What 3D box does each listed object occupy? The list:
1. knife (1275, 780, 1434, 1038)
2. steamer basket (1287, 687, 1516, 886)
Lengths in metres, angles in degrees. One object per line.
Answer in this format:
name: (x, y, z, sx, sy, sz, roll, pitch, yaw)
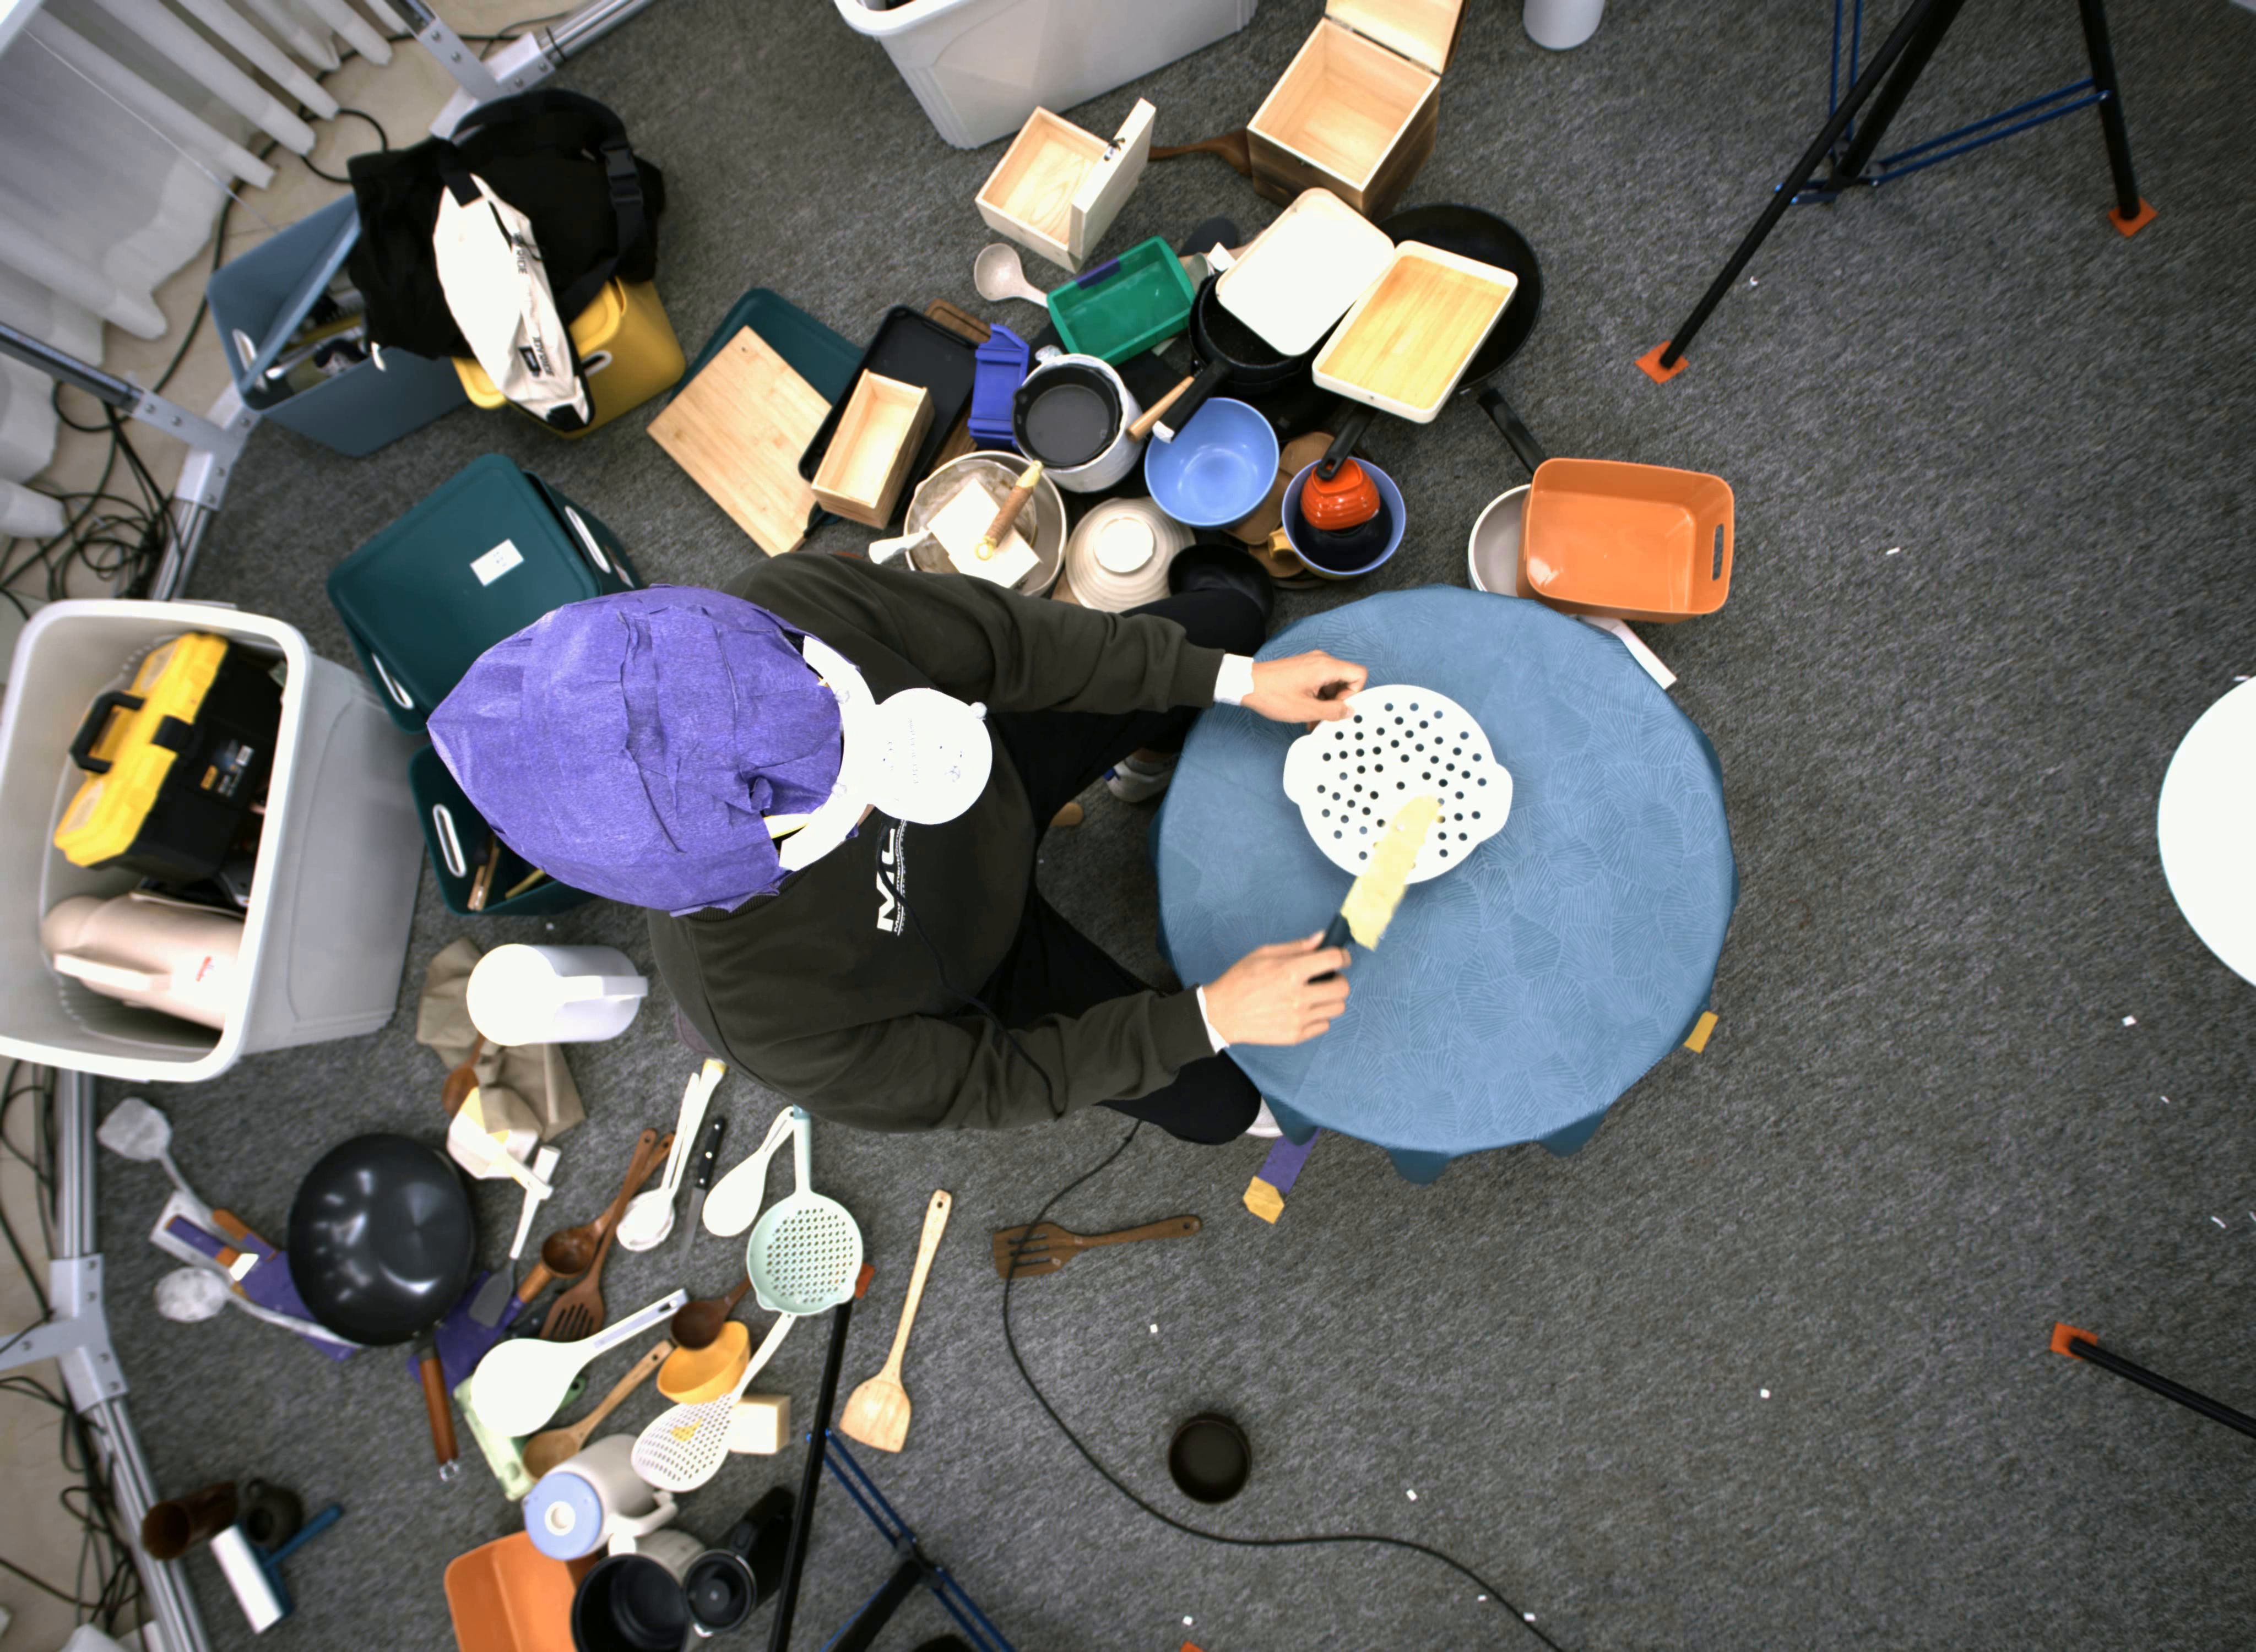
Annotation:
knife: (0.225, 0.080, 1.344, 0.027, 0.081, 0.289, 30, 90, 48)
steamer basket: (0.282, -0.041, 1.418, 0.231, 0.069, 0.203, 12, 96, 17)
